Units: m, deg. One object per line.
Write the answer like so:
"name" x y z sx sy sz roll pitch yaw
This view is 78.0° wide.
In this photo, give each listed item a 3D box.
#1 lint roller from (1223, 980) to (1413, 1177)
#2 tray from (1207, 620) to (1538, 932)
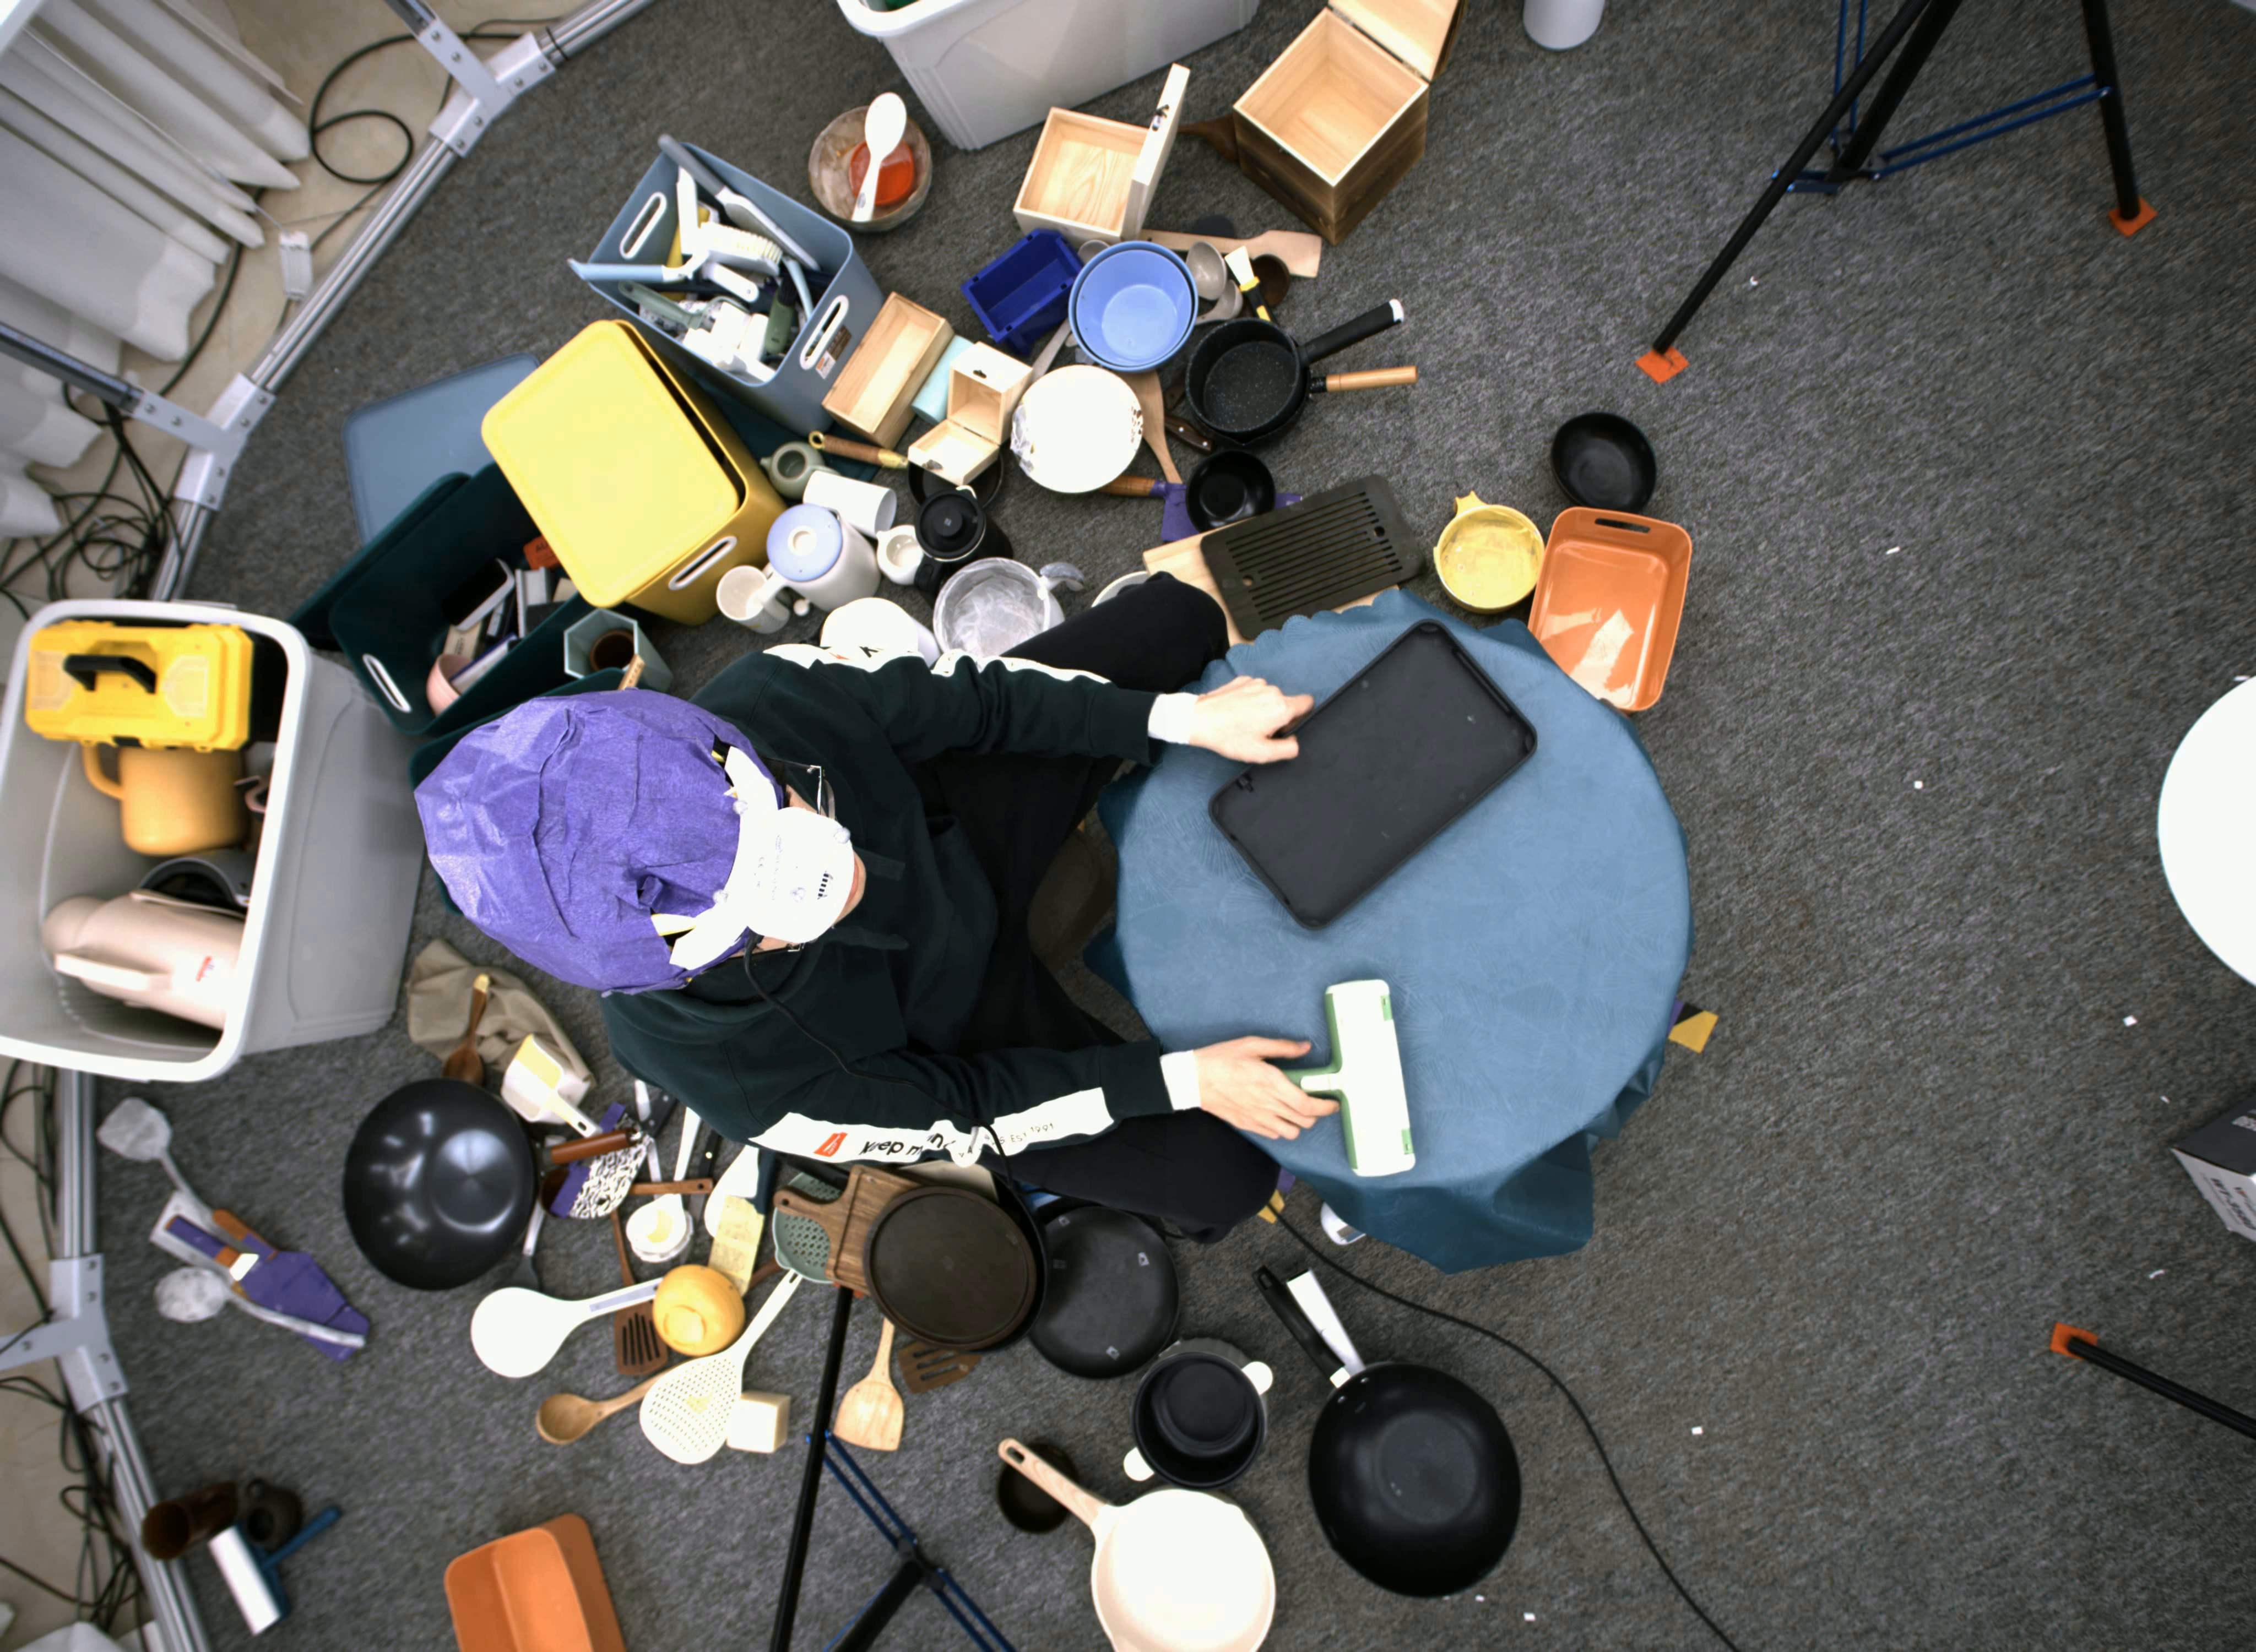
"lint roller" 0.187 0.264 1.420 0.184 0.082 0.197 -8 85 6
"tray" 0.253 -0.053 1.441 0.319 0.037 0.183 -41 84 5
